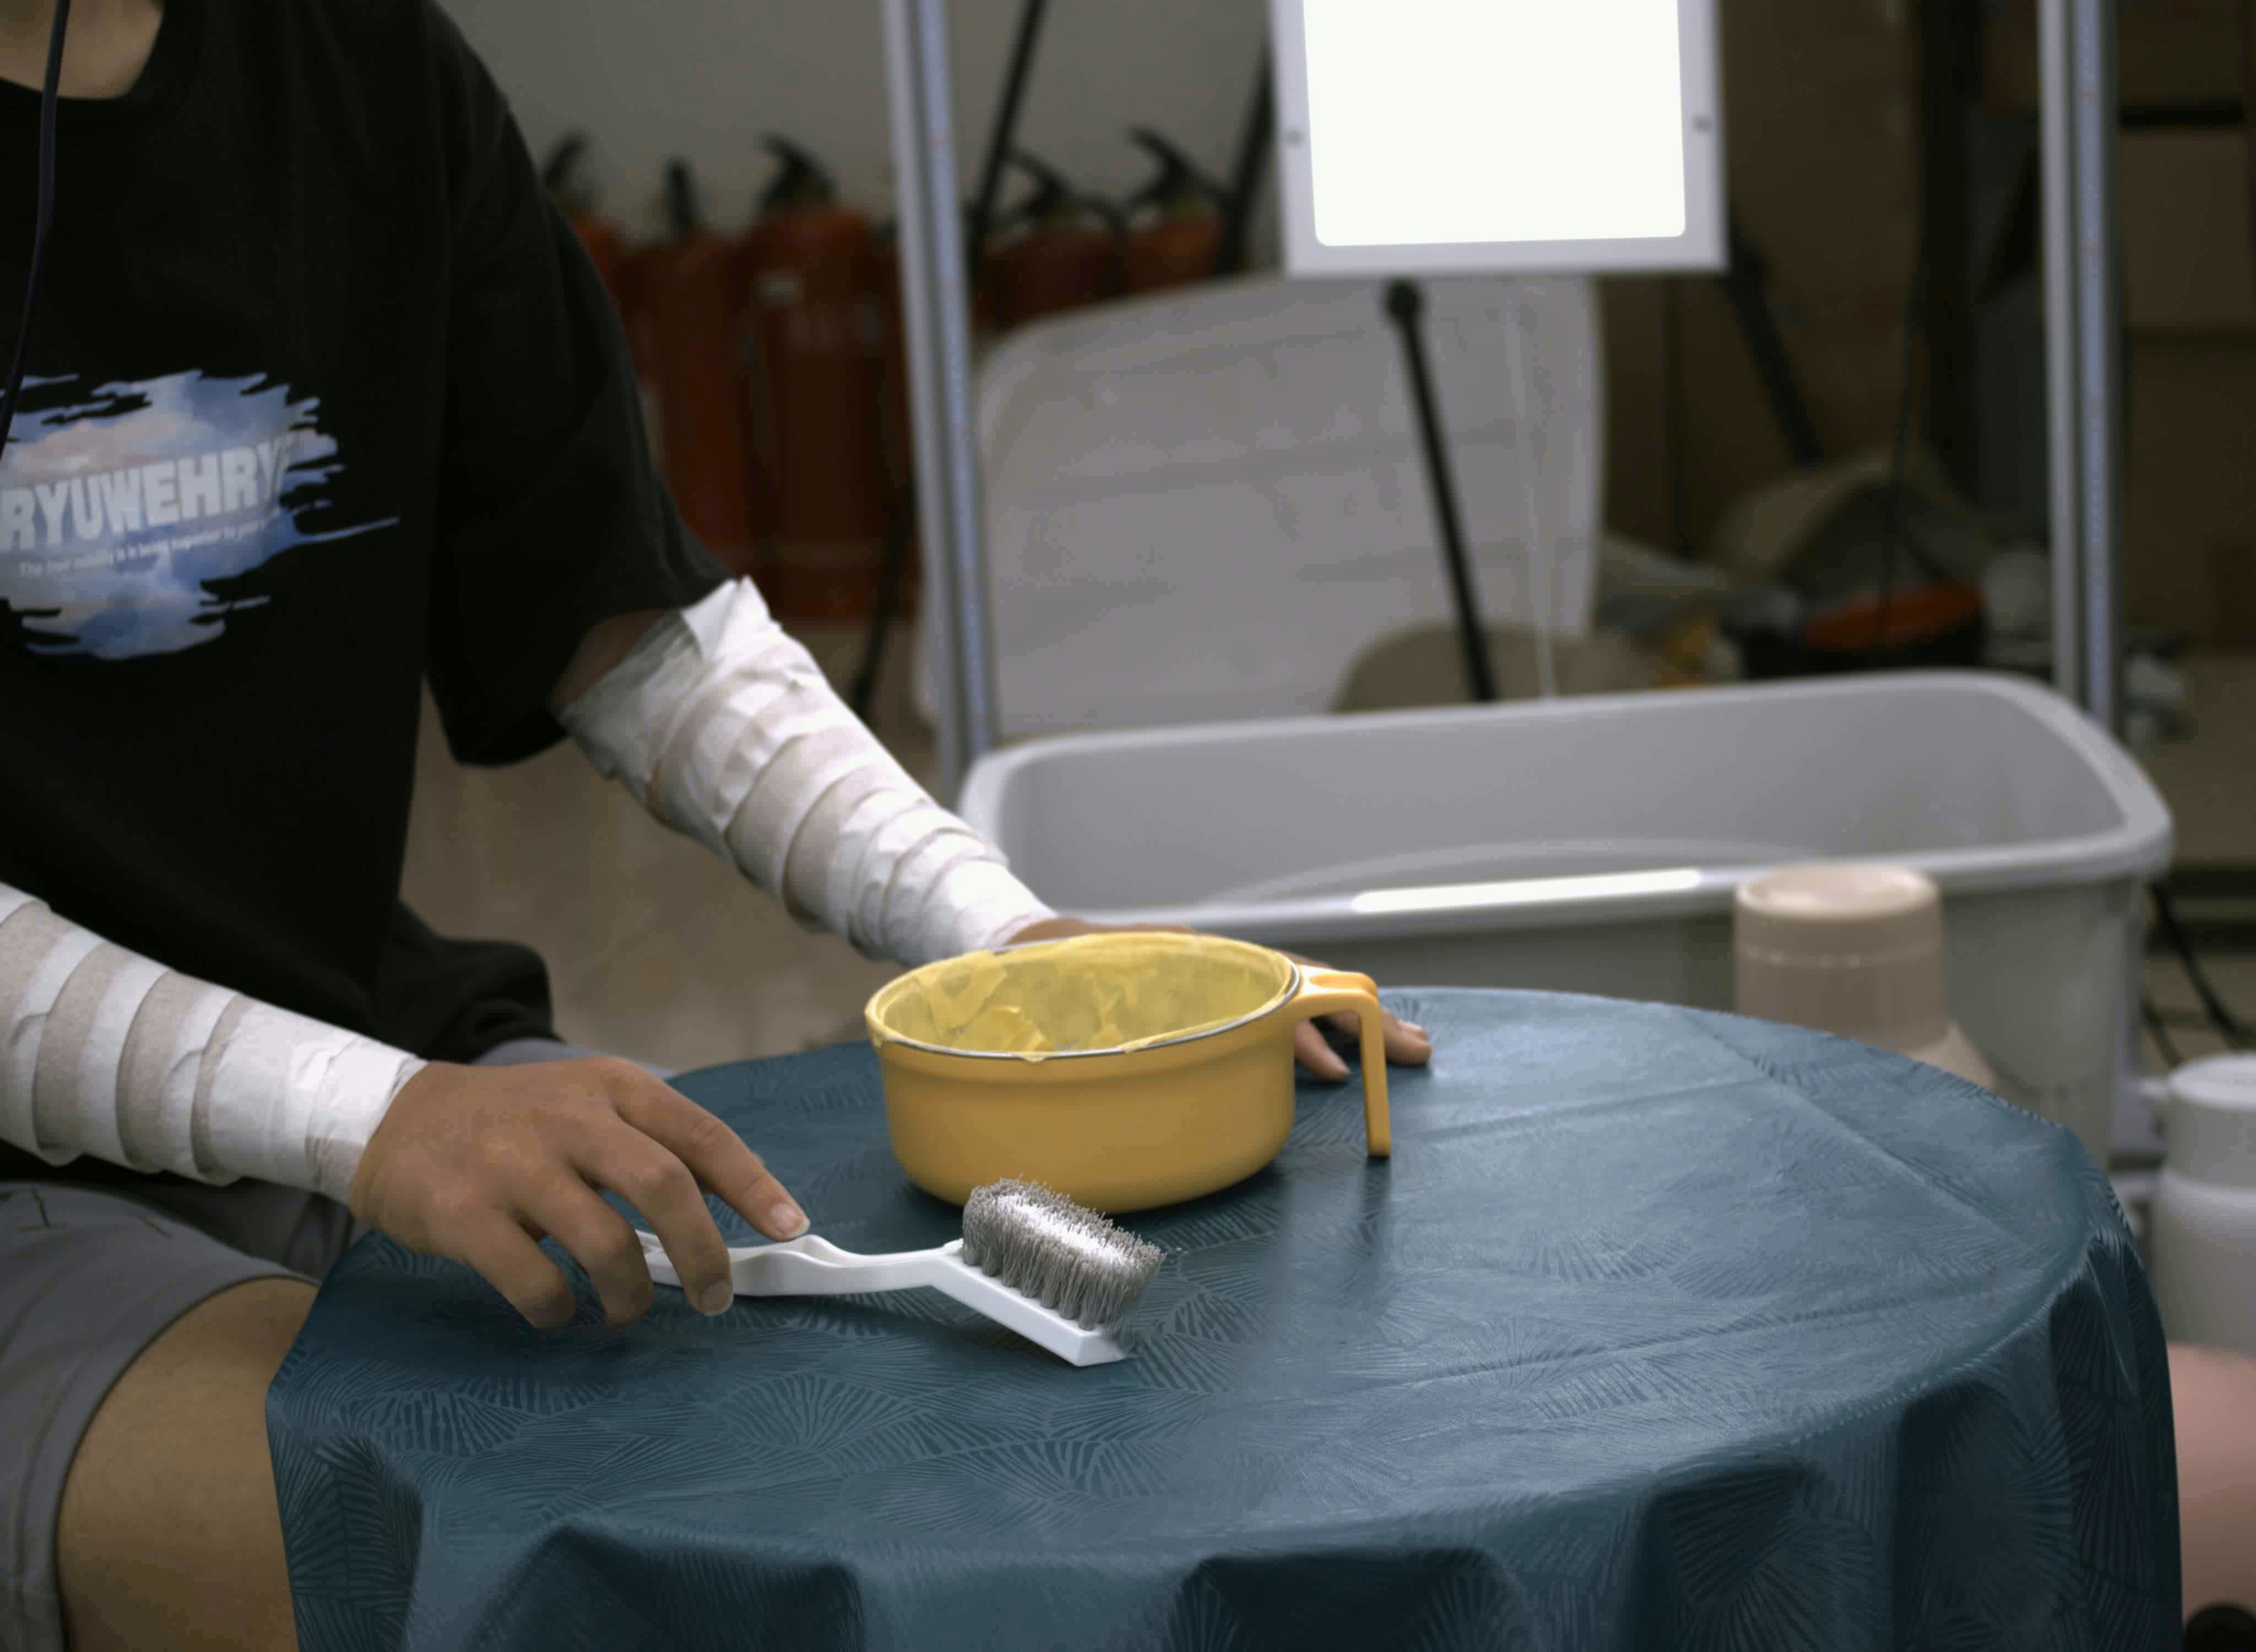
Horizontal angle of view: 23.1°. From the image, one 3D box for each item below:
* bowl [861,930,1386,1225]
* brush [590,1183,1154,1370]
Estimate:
[{"bbox_3d":[0.000,0.089,1.913,0.179,0.074,0.153,-6,12,0],"label":"bowl"},{"bbox_3d":[-0.090,0.133,1.800,0.249,0.050,0.033,8,20,42],"label":"brush"}]
